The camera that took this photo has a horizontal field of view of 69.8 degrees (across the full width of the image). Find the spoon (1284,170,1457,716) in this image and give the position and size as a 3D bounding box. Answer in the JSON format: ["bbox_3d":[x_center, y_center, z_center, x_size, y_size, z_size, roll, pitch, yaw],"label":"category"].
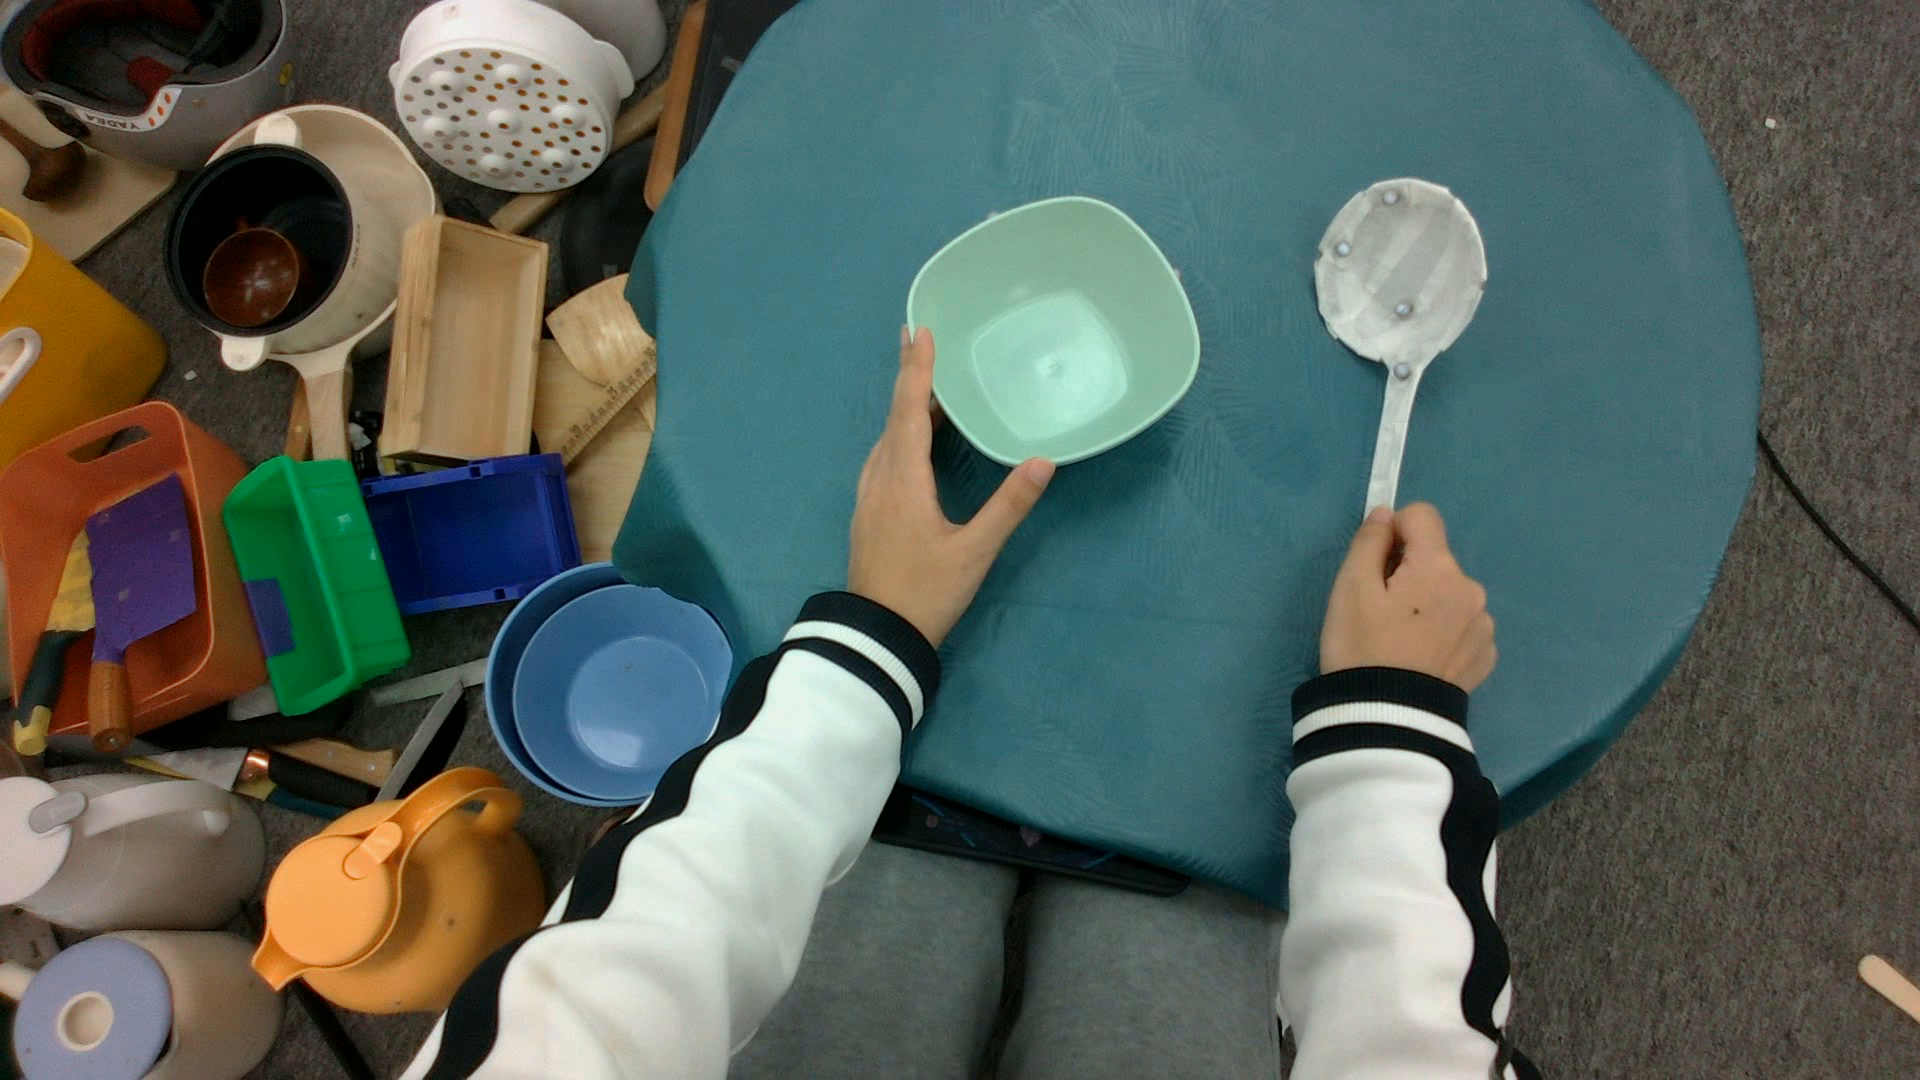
[{"bbox_3d":[0.185,-0.052,0.696,0.059,0.100,0.278,27,74,-33],"label":"spoon"}]

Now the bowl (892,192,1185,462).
[{"bbox_3d":[0.040,-0.103,0.720,0.151,0.058,0.152,0,73,1],"label":"bowl"}]
